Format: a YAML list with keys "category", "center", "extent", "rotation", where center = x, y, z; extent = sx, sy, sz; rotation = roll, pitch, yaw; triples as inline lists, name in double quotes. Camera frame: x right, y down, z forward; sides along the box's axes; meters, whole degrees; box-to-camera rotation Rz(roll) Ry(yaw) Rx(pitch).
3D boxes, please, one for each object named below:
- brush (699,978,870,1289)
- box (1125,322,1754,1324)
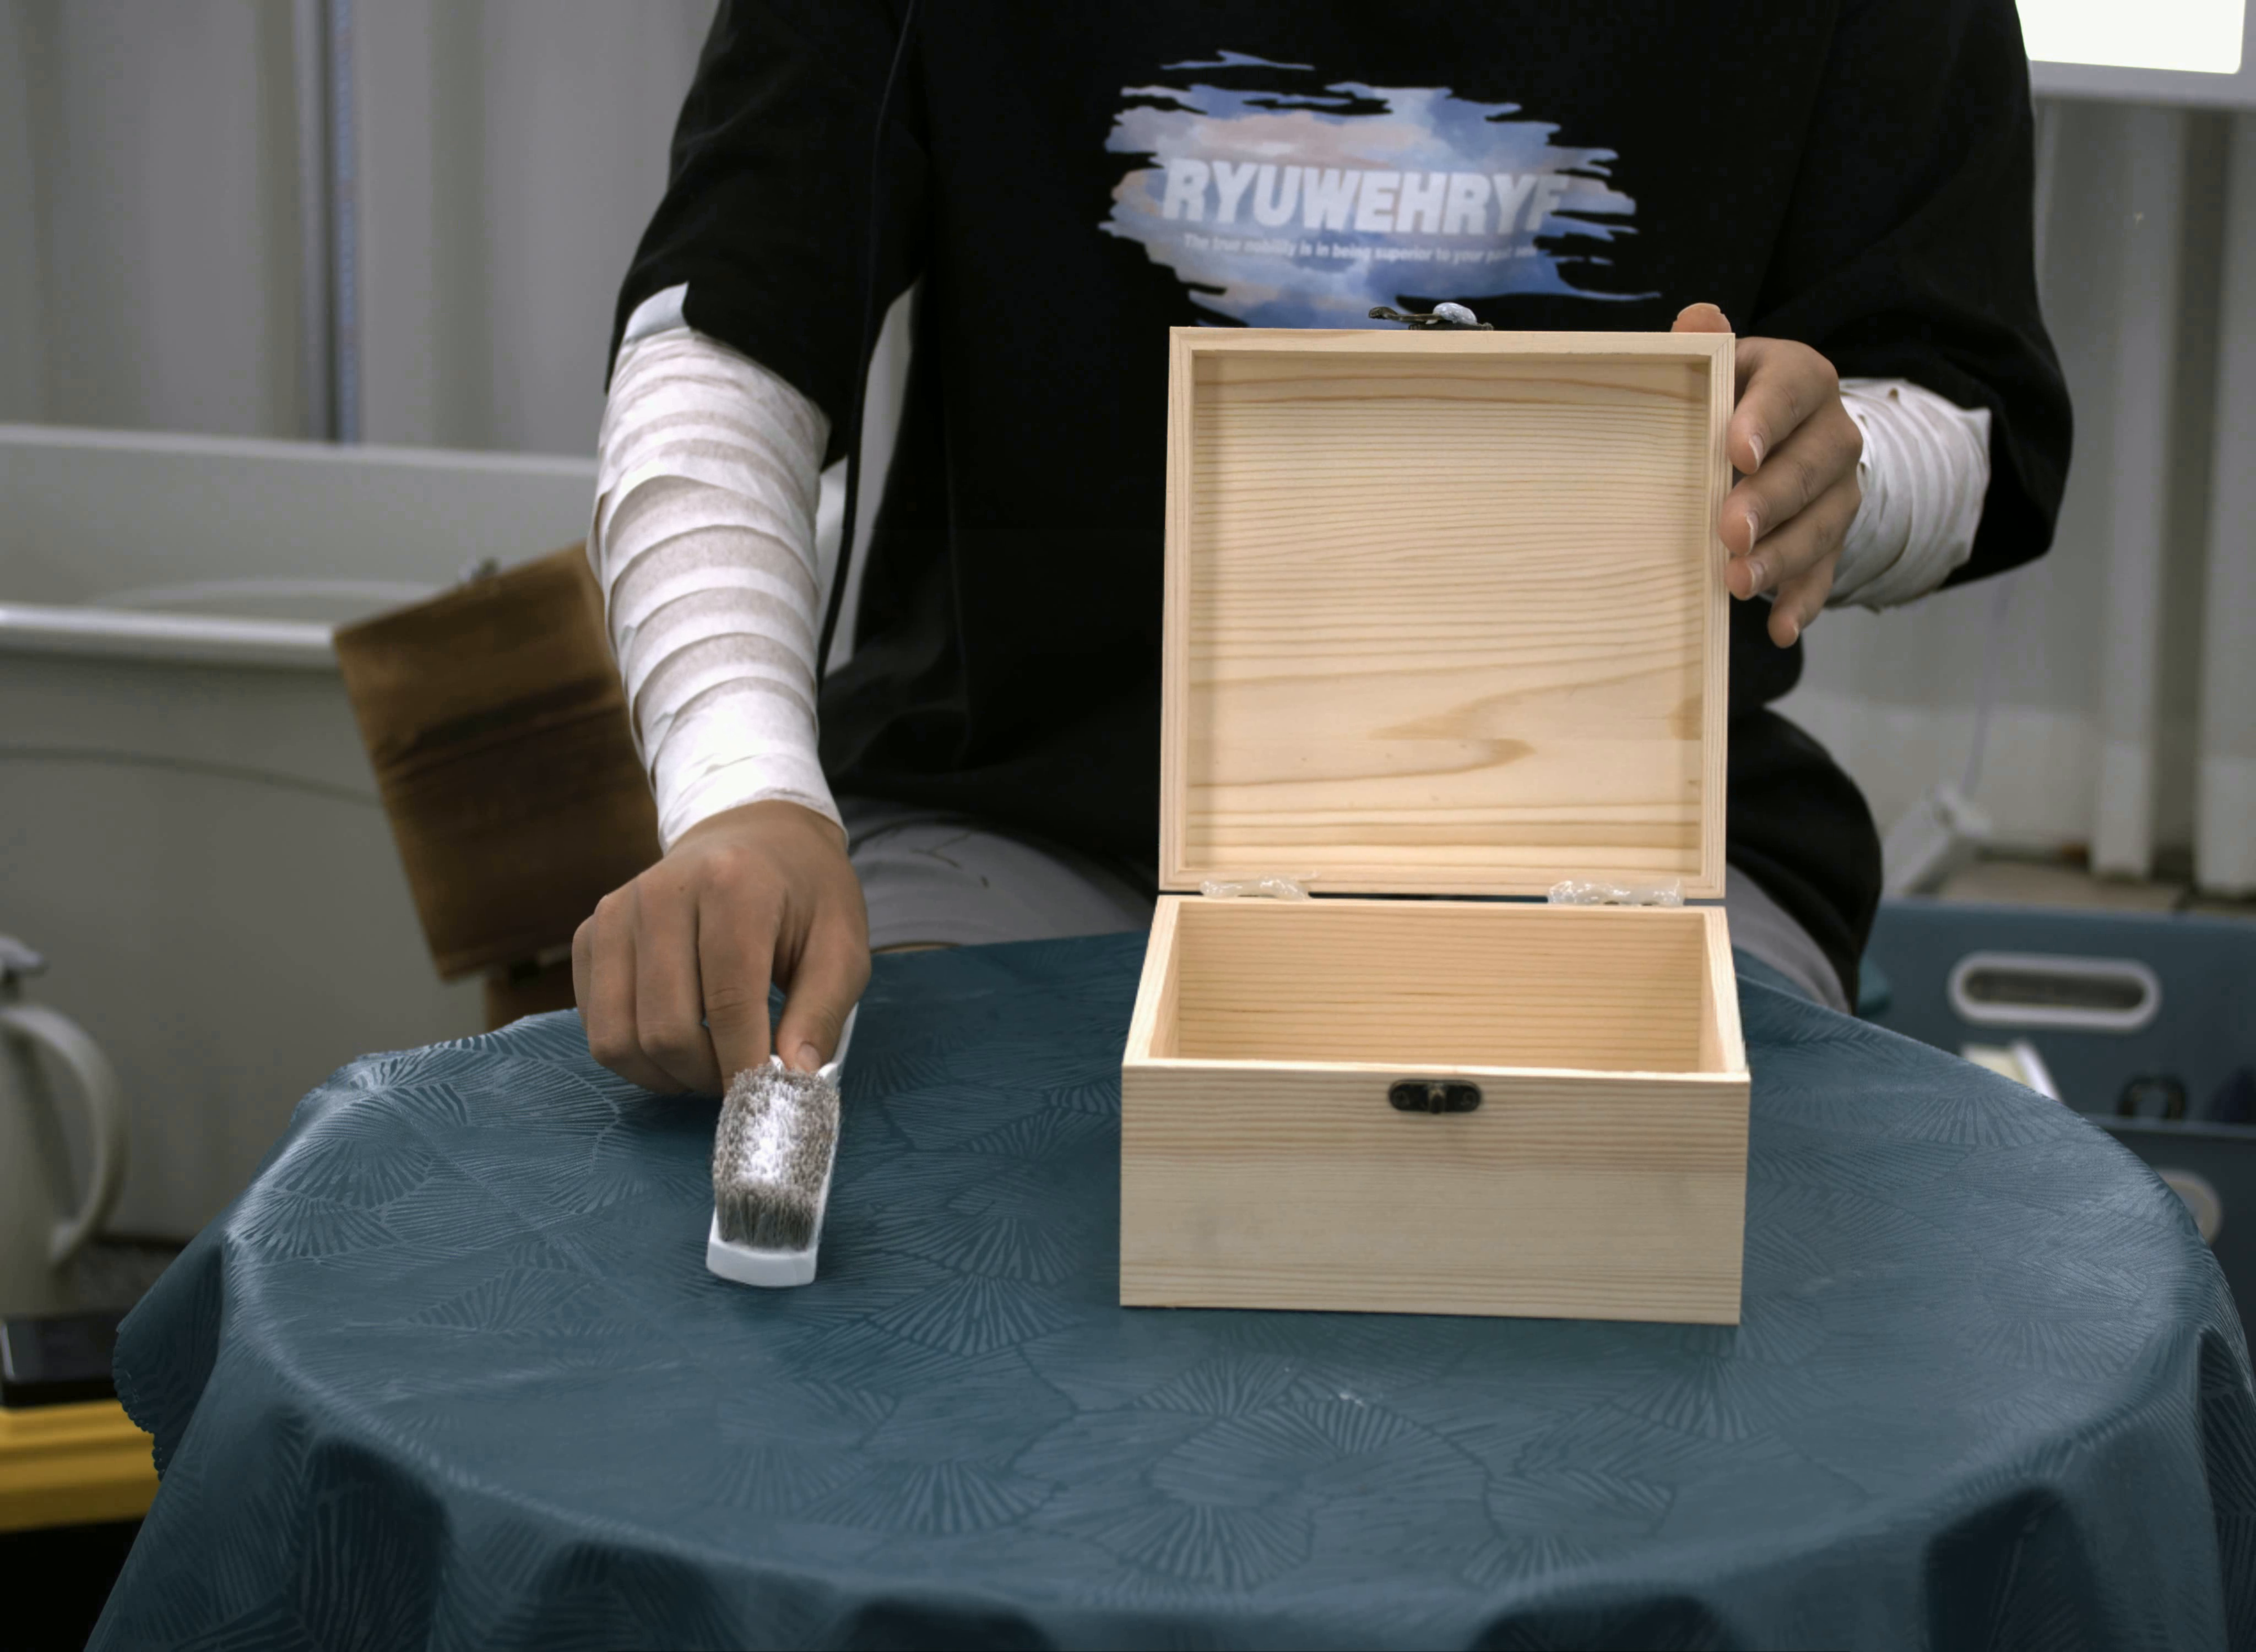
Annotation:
- category: "brush"
  center: [-0.101, 0.075, 1.632]
  extent: [0.034, 0.050, 0.242]
  rotation: [9, 20, 1]
- category: "box"
  center: [0.095, -0.010, 1.604]
  extent: [0.181, 0.255, 0.264]
  rotation: [0, 15, 3]
